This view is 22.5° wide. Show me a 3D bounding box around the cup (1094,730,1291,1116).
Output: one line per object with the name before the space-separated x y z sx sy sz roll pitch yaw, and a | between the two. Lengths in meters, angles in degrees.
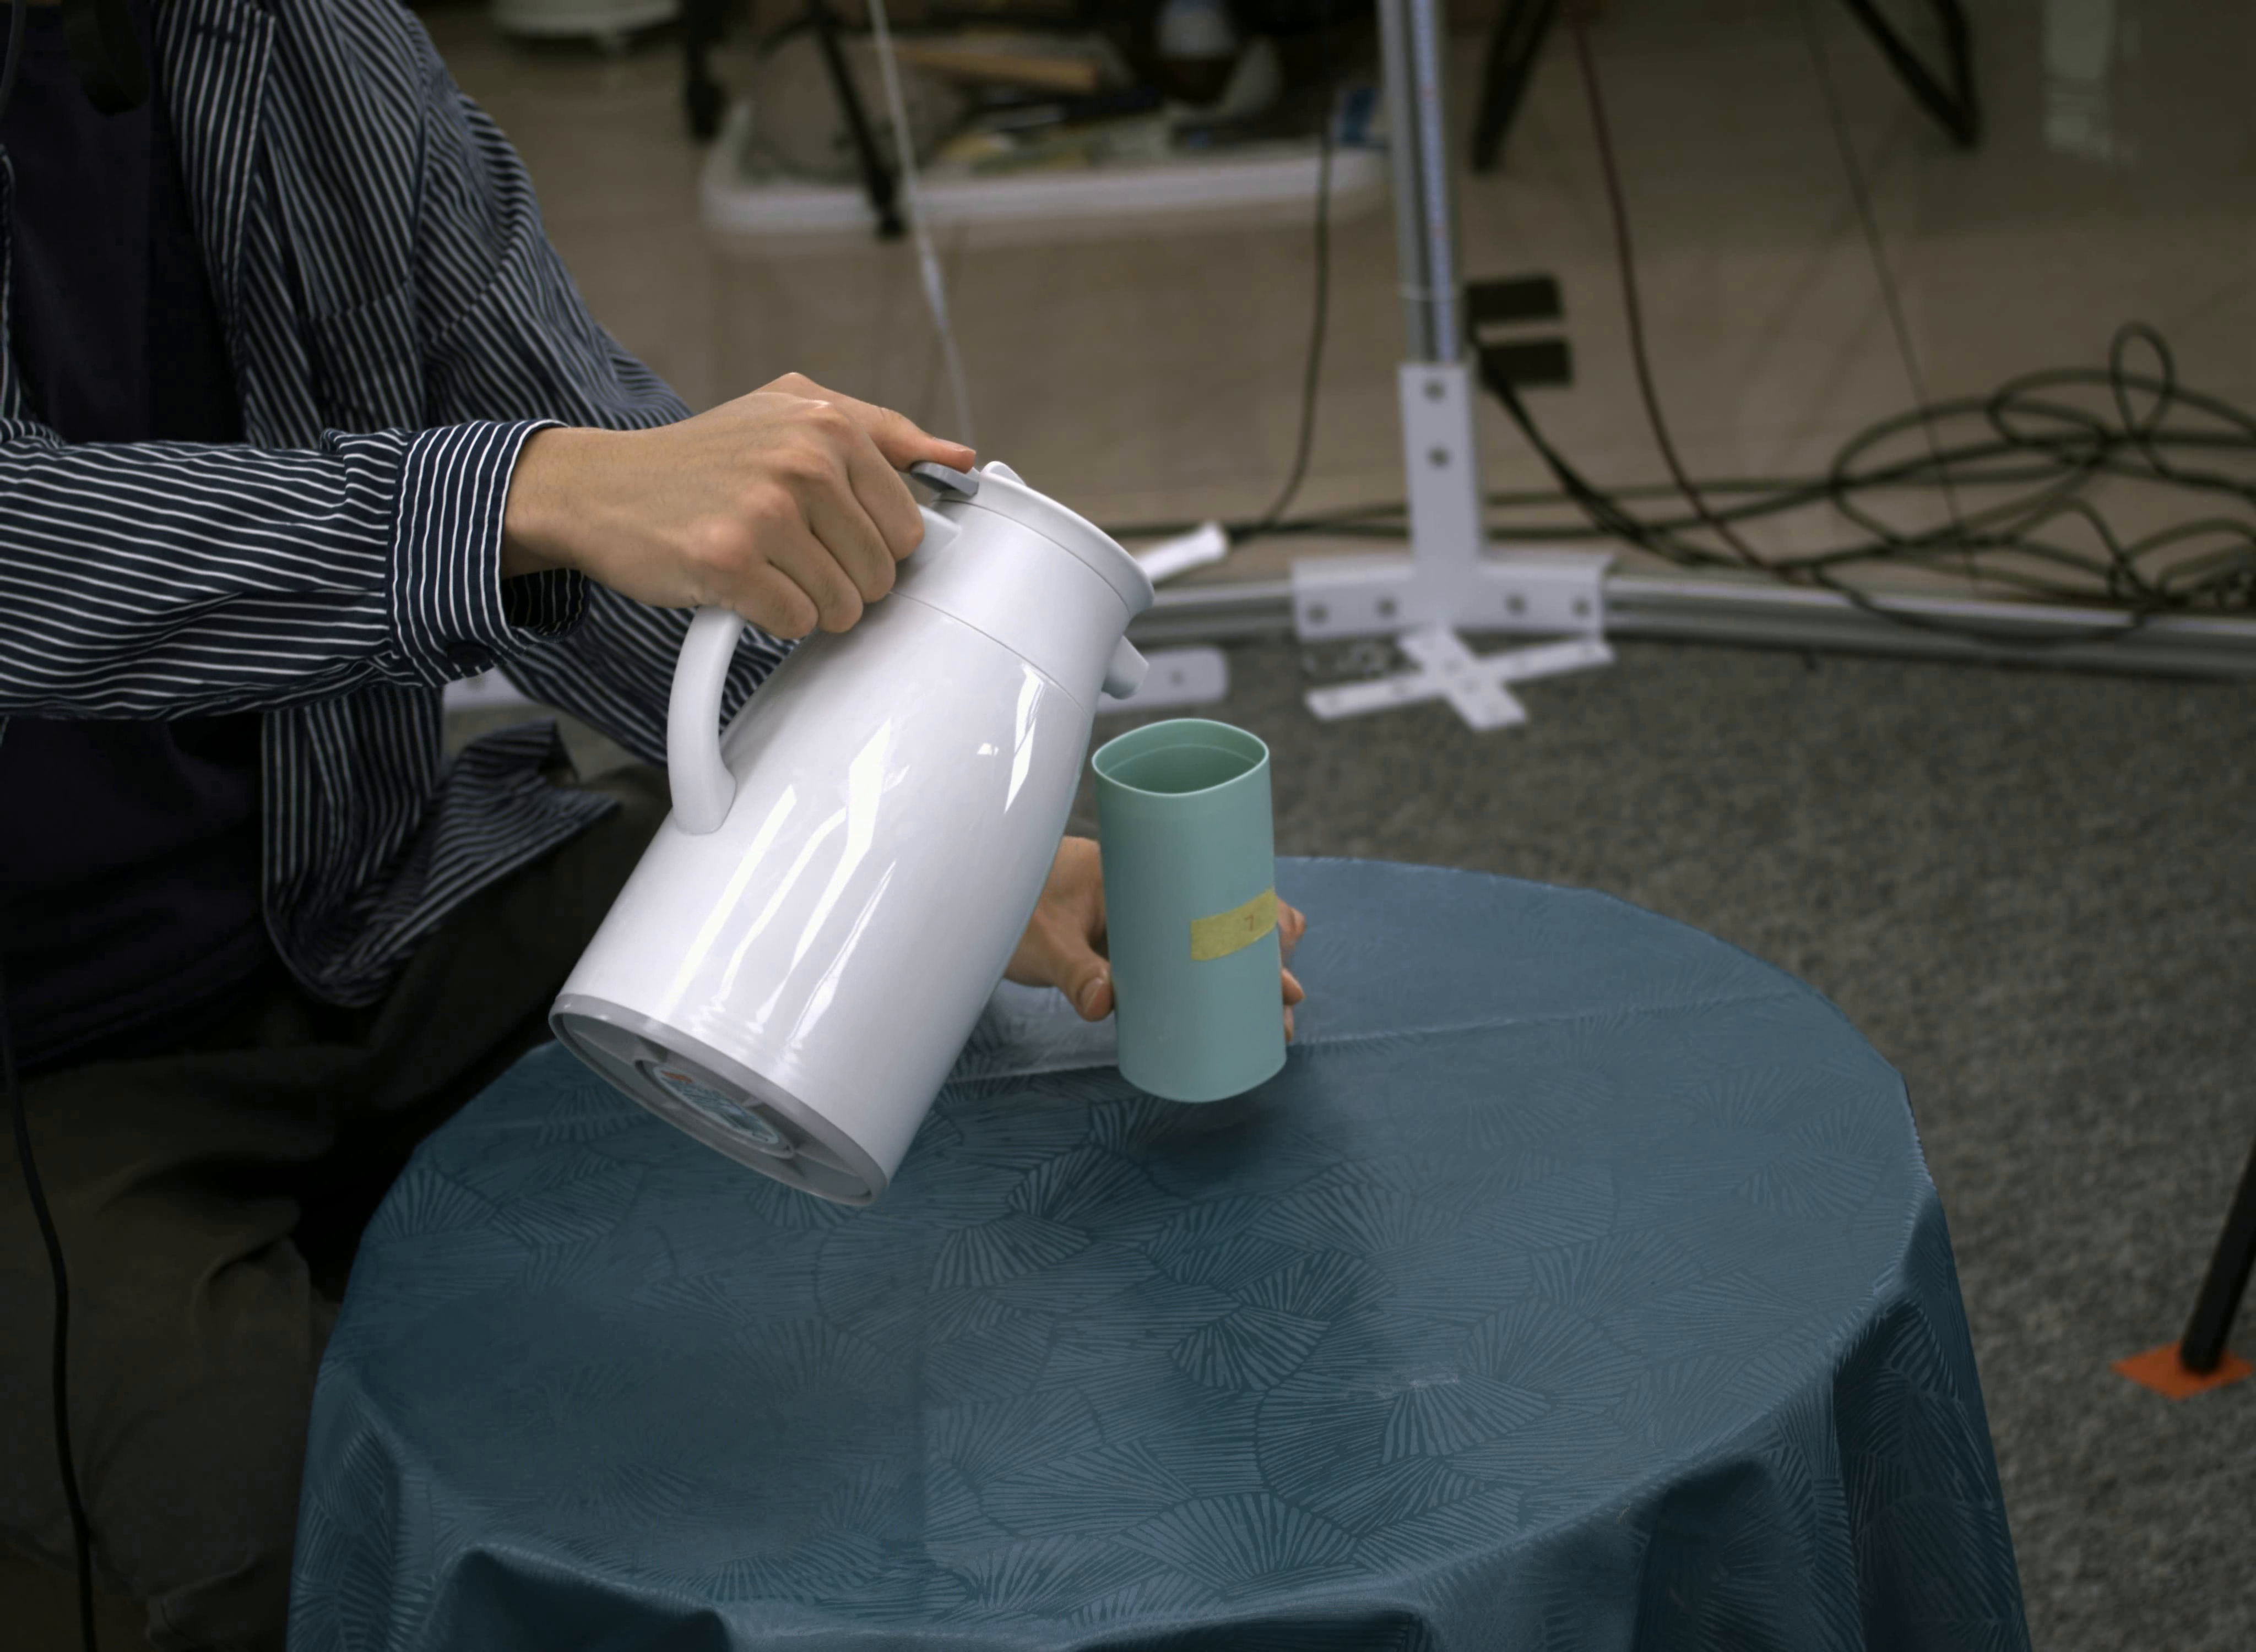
cup | 0.024 0.036 2.141 0.066 0.134 0.066 -4 28 2

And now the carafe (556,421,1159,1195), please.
carafe | -0.094 -0.018 1.981 0.132 0.170 0.247 15 71 49
